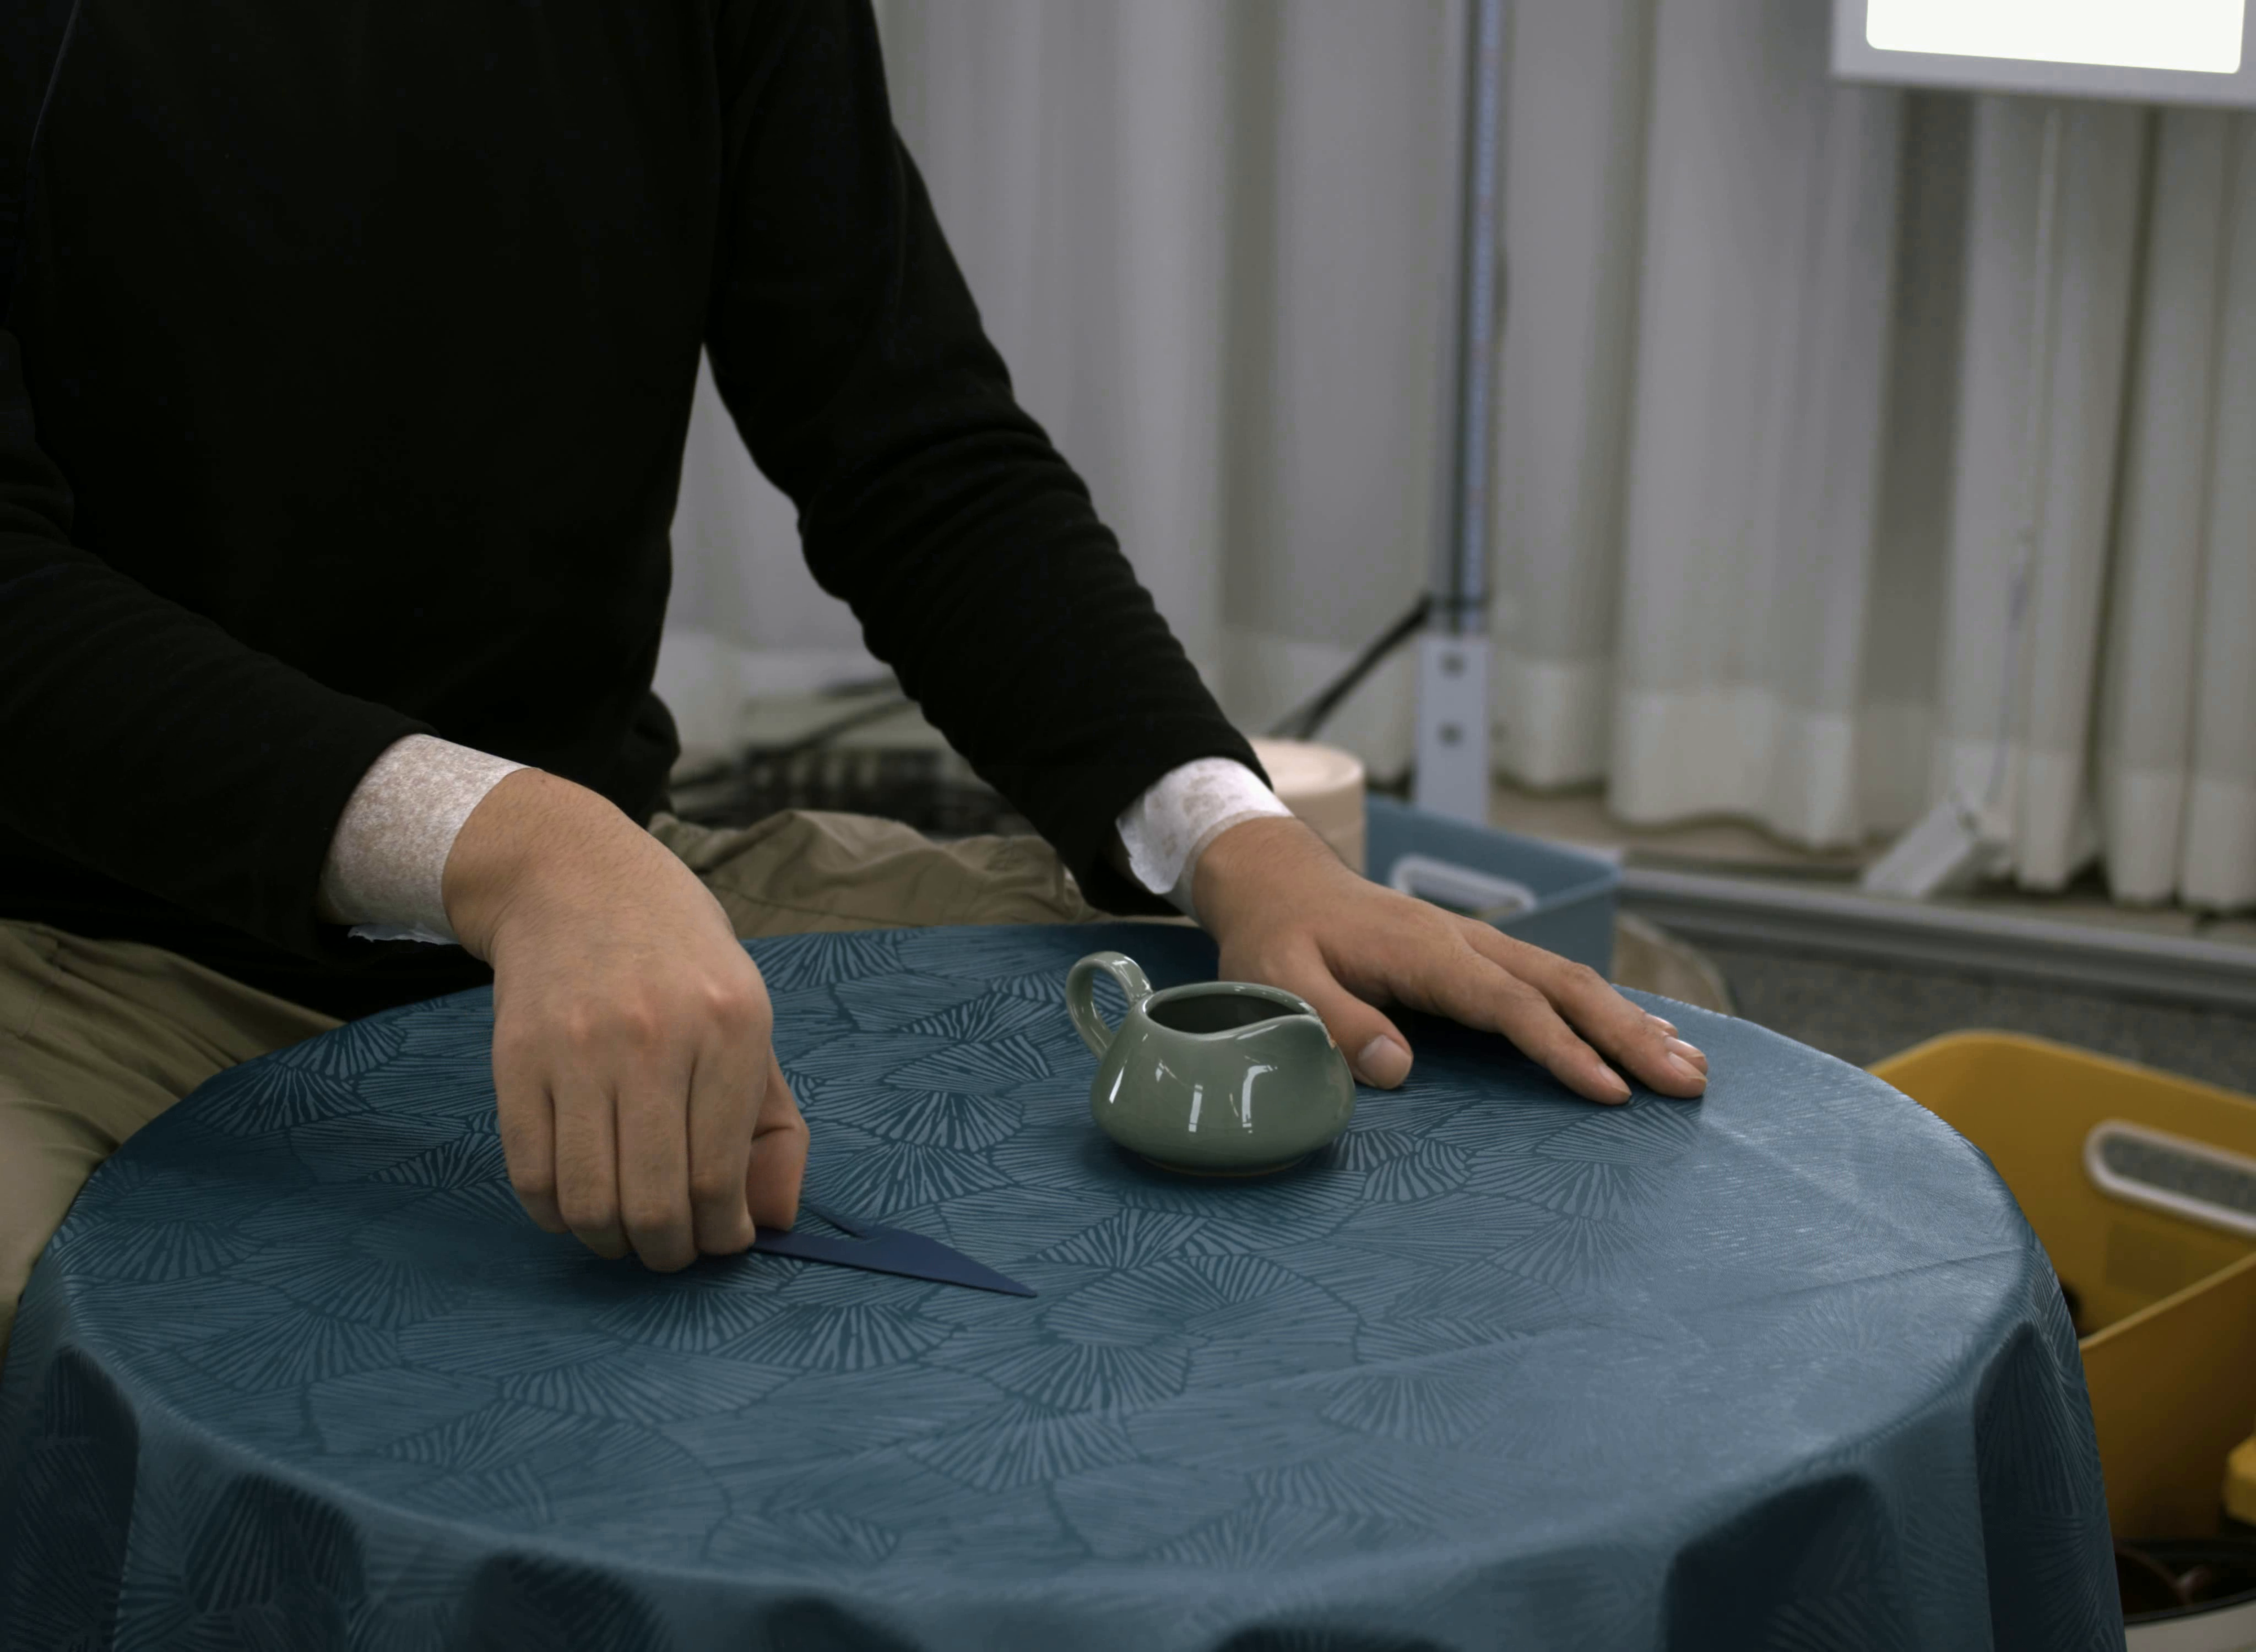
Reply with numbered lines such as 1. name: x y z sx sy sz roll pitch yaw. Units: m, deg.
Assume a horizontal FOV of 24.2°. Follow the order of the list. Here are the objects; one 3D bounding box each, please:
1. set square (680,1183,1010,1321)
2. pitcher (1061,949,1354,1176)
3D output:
1. set square: -0.089 0.127 1.555 0.061 0.006 0.130 -7 17 -32
2. pitcher: 0.024 0.074 1.655 0.111 0.056 0.084 13 18 38
